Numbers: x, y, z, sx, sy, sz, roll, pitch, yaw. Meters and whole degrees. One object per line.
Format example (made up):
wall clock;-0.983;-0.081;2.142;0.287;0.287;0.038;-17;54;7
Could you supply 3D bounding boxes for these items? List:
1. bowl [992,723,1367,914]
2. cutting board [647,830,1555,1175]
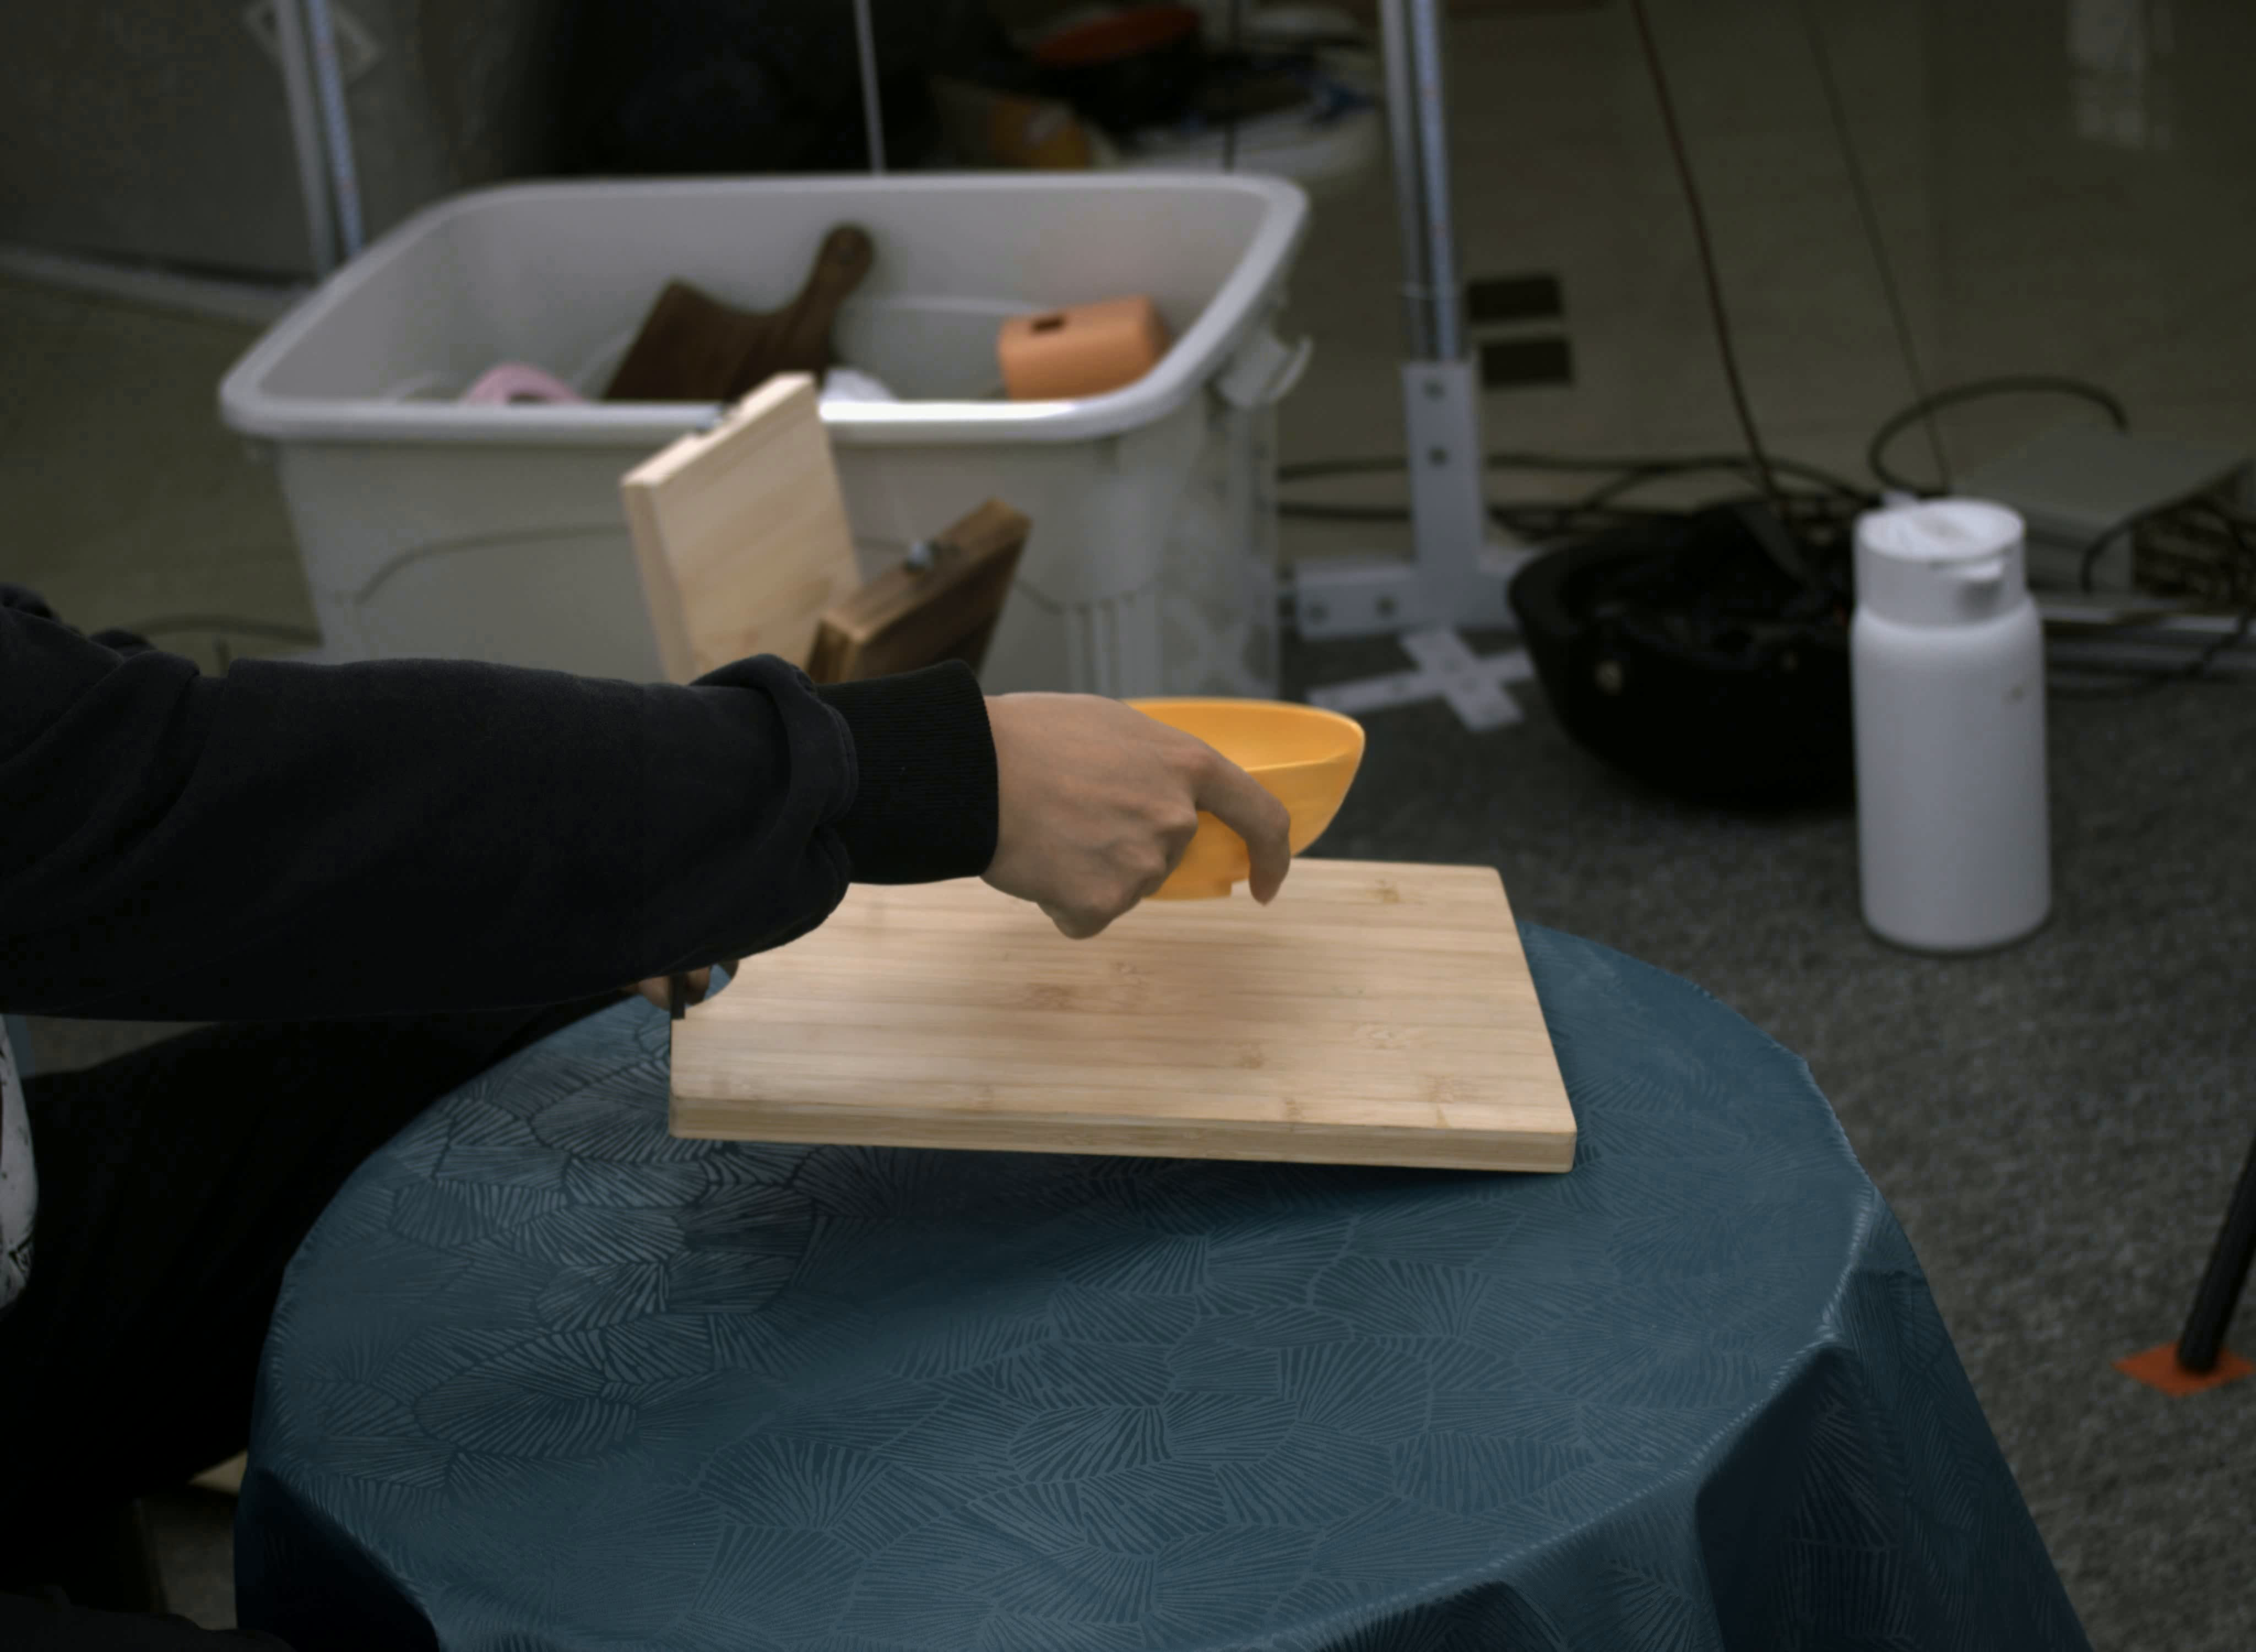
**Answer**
bowl;0.022;-0.001;2.174;0.145;0.060;0.144;-4;10;1
cutting board;-0.014;0.067;2.217;0.348;0.024;0.247;2;24;-6
